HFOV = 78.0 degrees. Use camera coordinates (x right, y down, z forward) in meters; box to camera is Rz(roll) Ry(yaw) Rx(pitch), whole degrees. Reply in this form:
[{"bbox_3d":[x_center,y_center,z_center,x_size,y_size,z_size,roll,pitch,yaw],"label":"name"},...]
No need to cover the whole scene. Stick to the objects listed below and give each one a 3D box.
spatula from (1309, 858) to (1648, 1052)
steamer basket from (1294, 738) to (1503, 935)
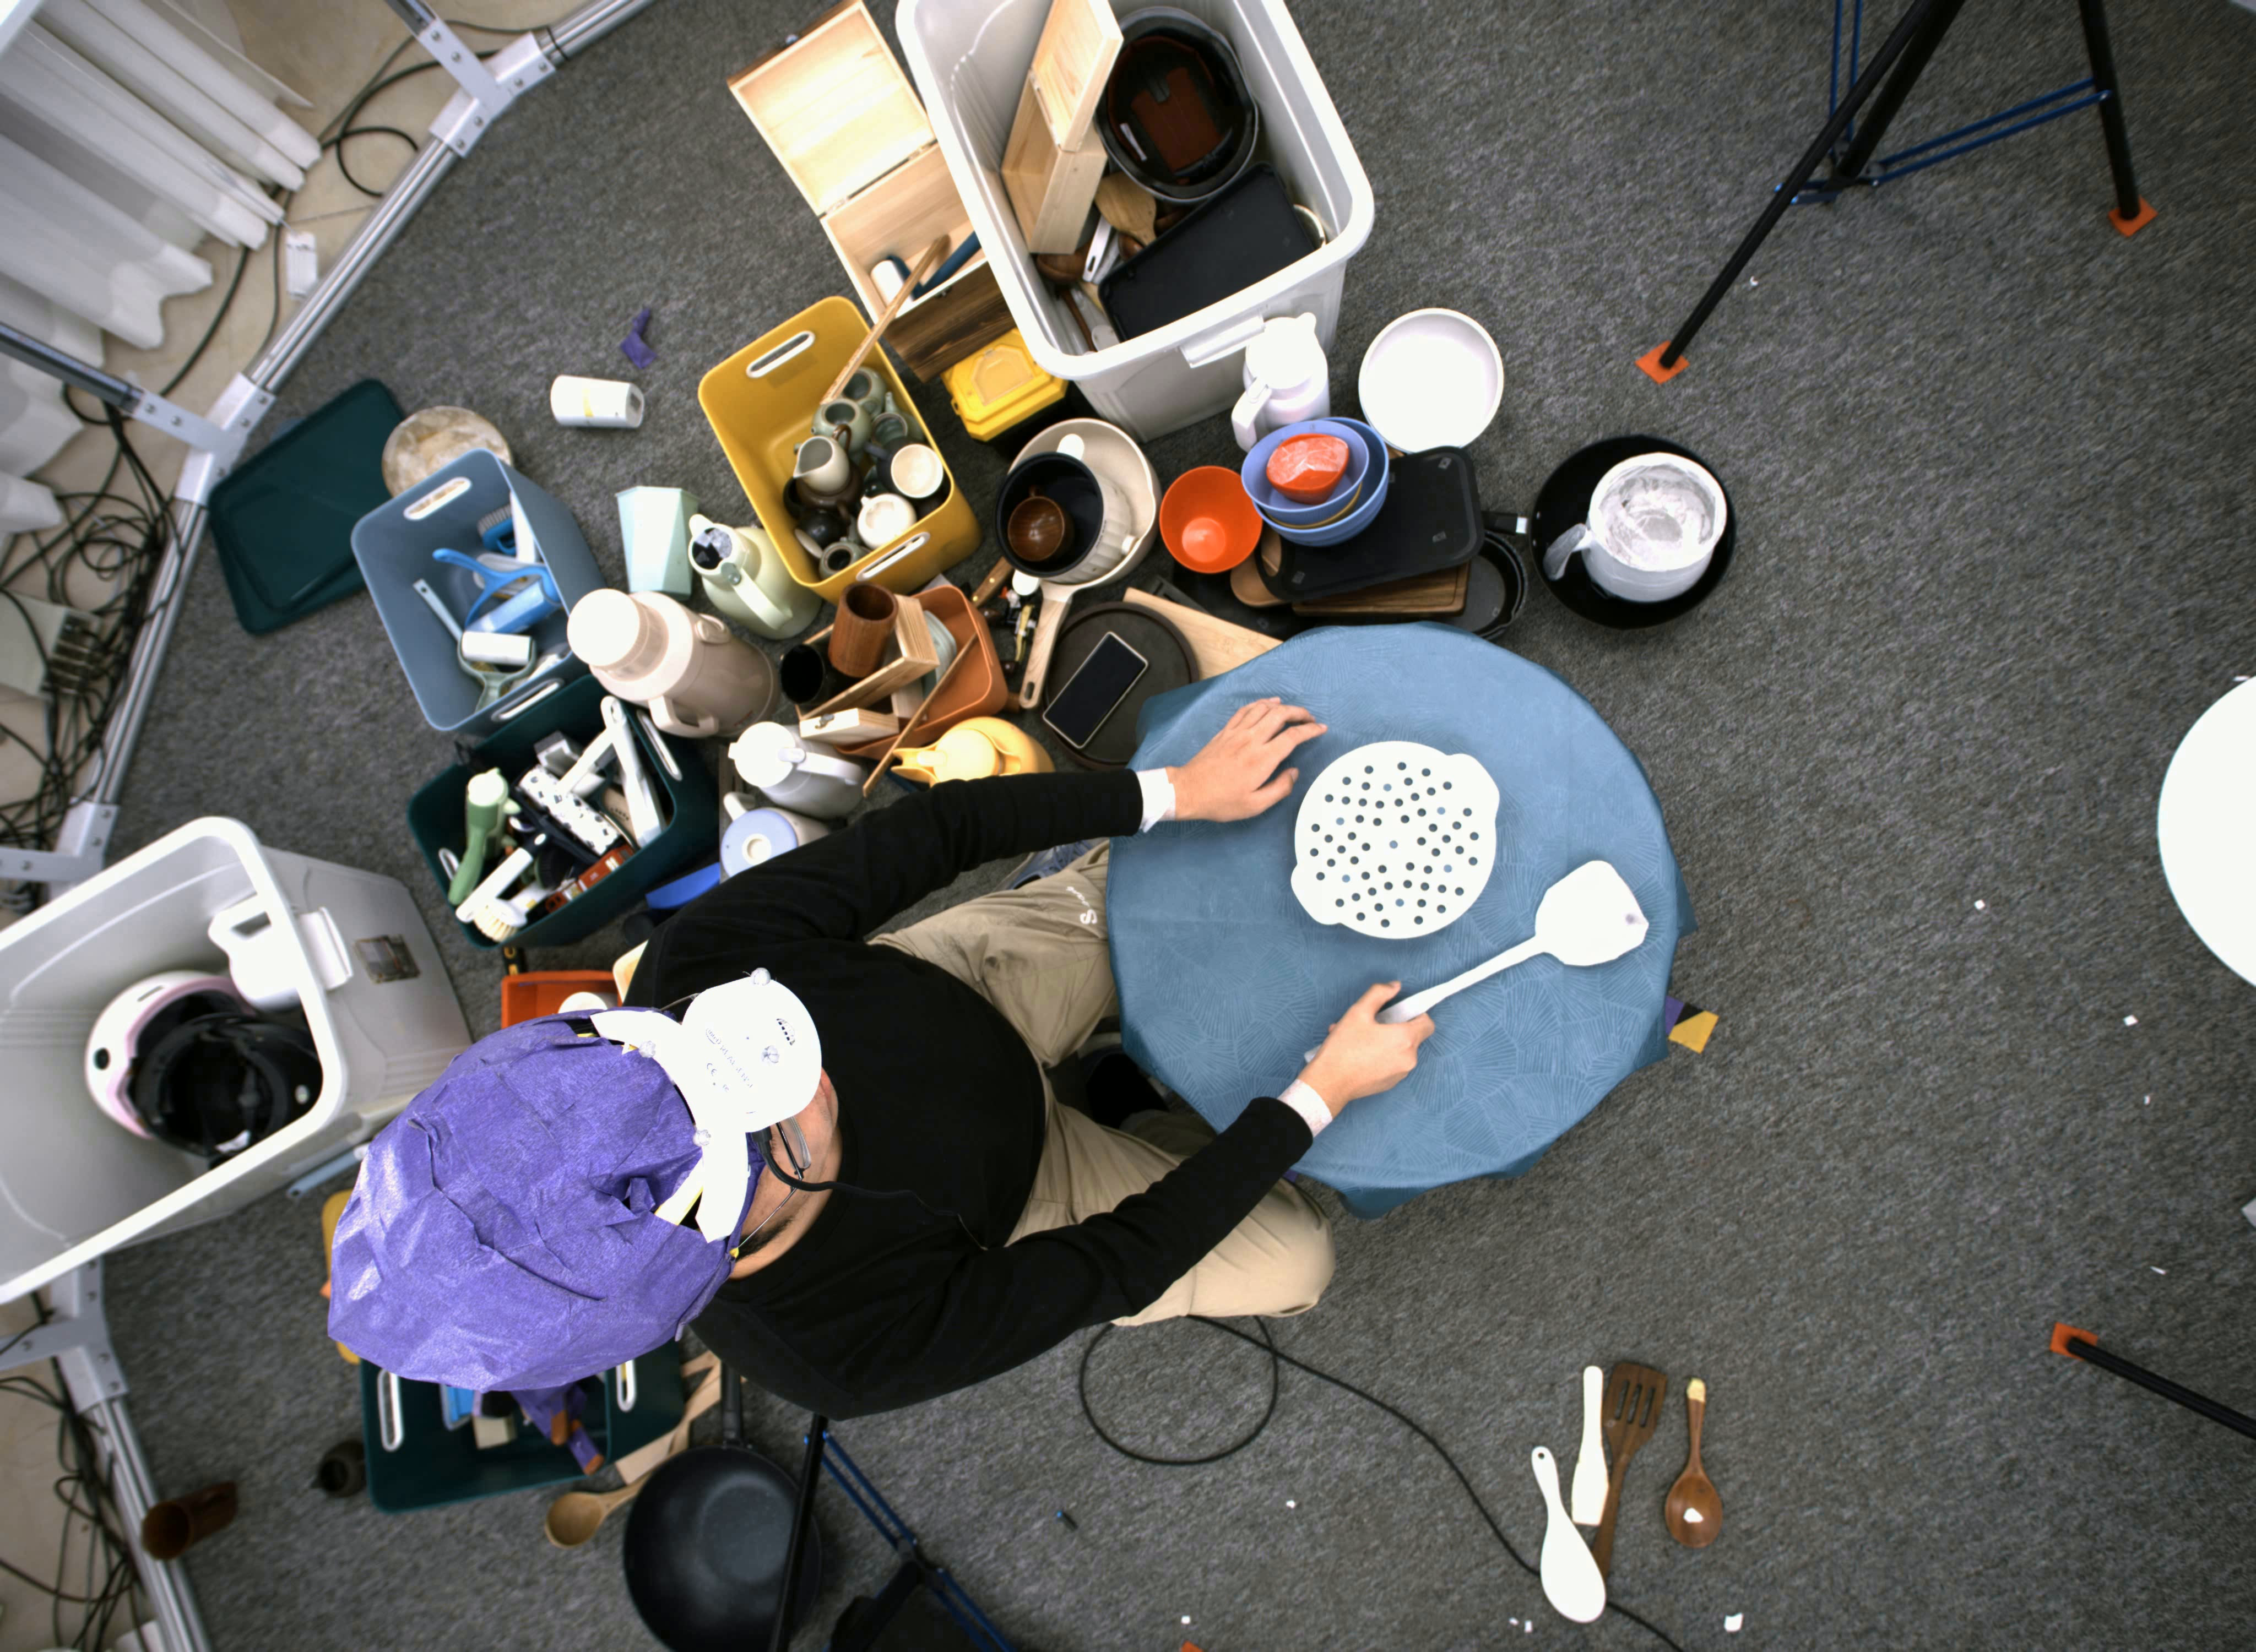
[{"bbox_3d":[0.353,0.150,1.417,0.366,0.045,0.097,-27,76,6],"label":"spatula"},{"bbox_3d":[0.279,0.012,1.426,0.232,0.069,0.200,-35,80,7],"label":"steamer basket"}]
